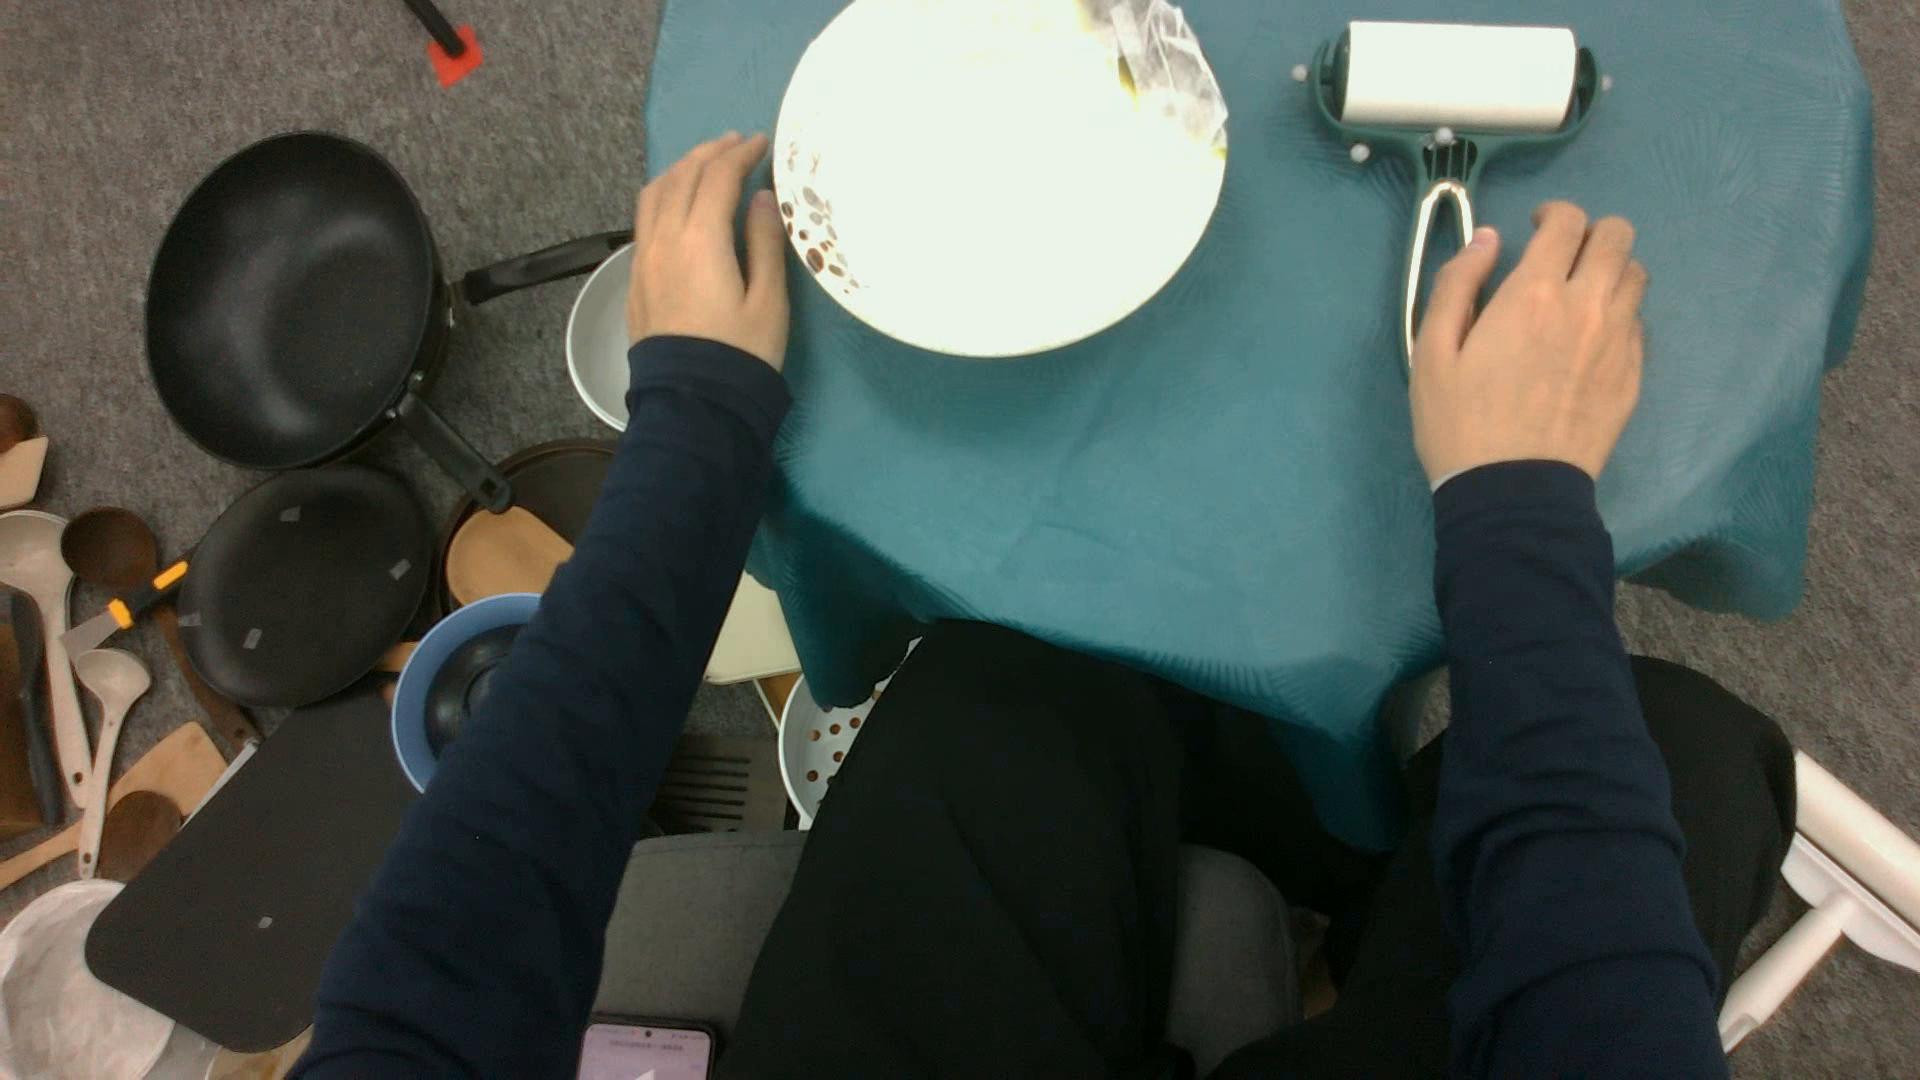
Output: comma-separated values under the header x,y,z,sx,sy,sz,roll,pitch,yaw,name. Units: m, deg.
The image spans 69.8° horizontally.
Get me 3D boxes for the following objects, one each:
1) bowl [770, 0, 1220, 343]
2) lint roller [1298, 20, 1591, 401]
x,y,z,sx,sy,sz,roll,pitch,yaw,name
0.018,-0.174,0.652,0.204,0.078,0.204,-2,75,7,bowl
0.222,-0.157,0.645,0.134,0.048,0.180,4,78,7,lint roller
